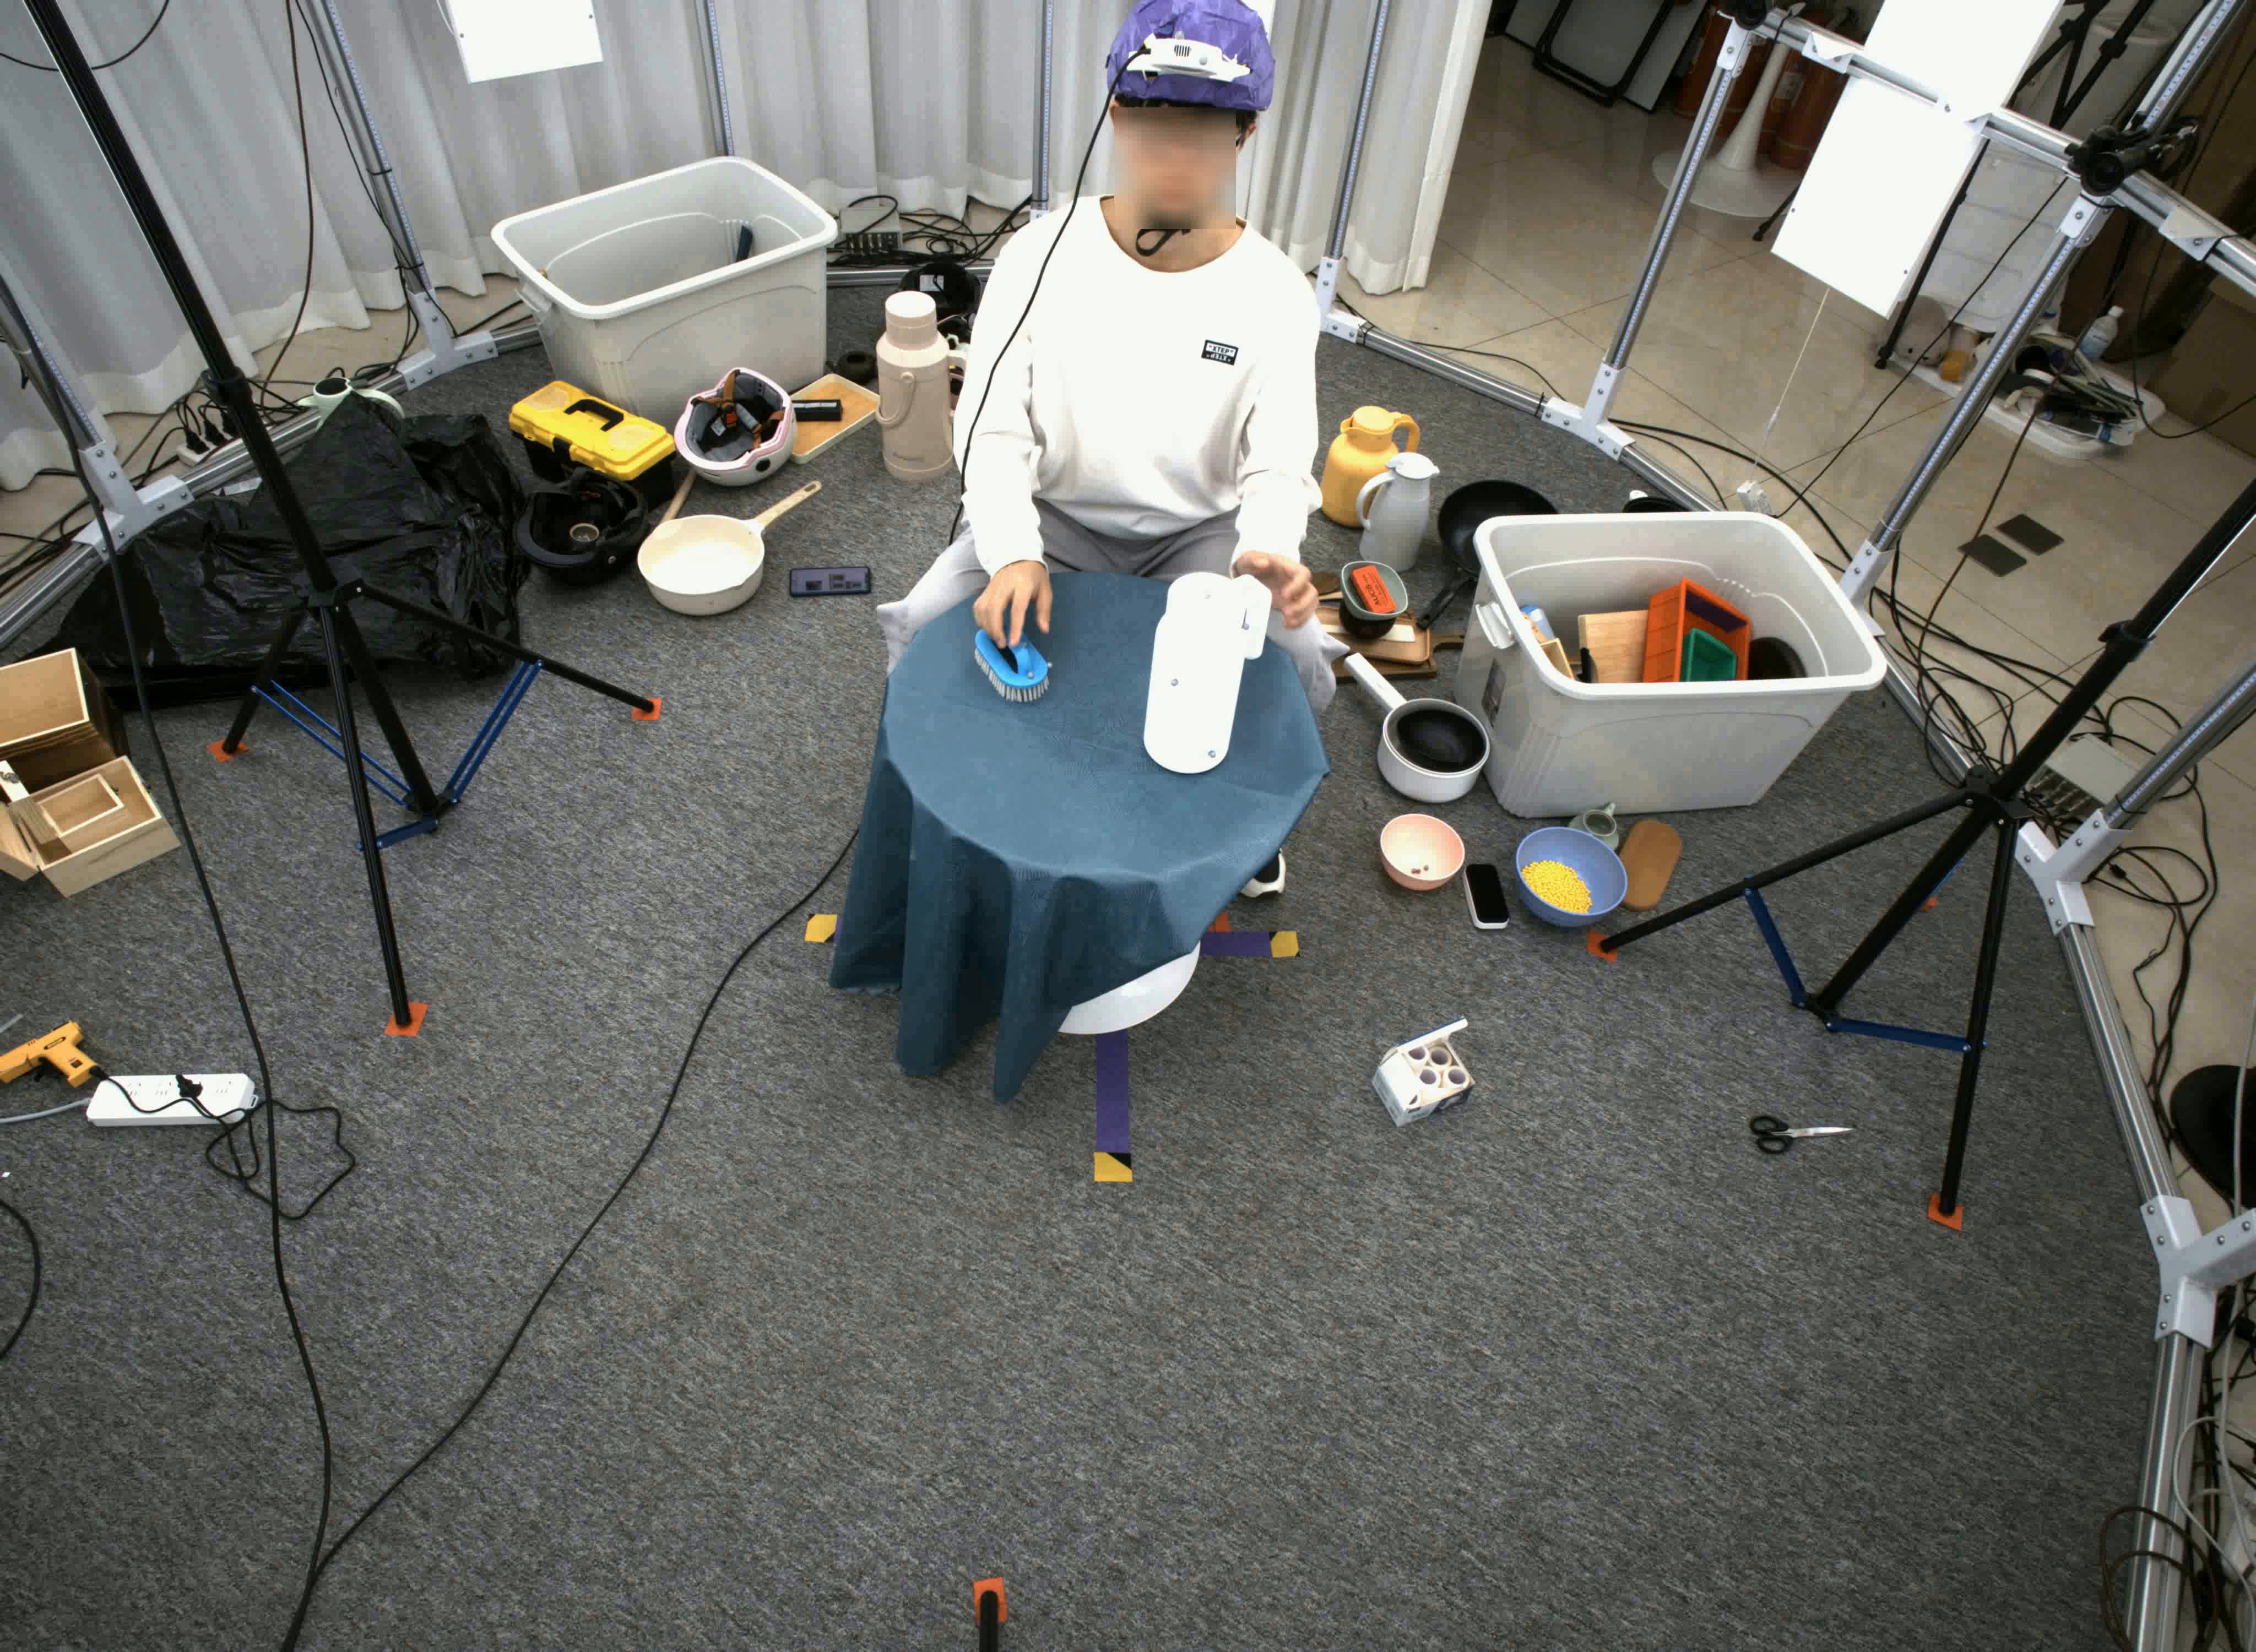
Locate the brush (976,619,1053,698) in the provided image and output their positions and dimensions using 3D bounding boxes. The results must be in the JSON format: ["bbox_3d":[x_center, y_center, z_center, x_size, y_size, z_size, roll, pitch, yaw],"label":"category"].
[{"bbox_3d":[-0.164,-0.248,1.826,0.084,0.062,0.145,-23,53,-16],"label":"brush"}]

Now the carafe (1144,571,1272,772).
[{"bbox_3d":[0.102,-0.206,1.678,0.174,0.262,0.126,-29,55,-27],"label":"carafe"}]
